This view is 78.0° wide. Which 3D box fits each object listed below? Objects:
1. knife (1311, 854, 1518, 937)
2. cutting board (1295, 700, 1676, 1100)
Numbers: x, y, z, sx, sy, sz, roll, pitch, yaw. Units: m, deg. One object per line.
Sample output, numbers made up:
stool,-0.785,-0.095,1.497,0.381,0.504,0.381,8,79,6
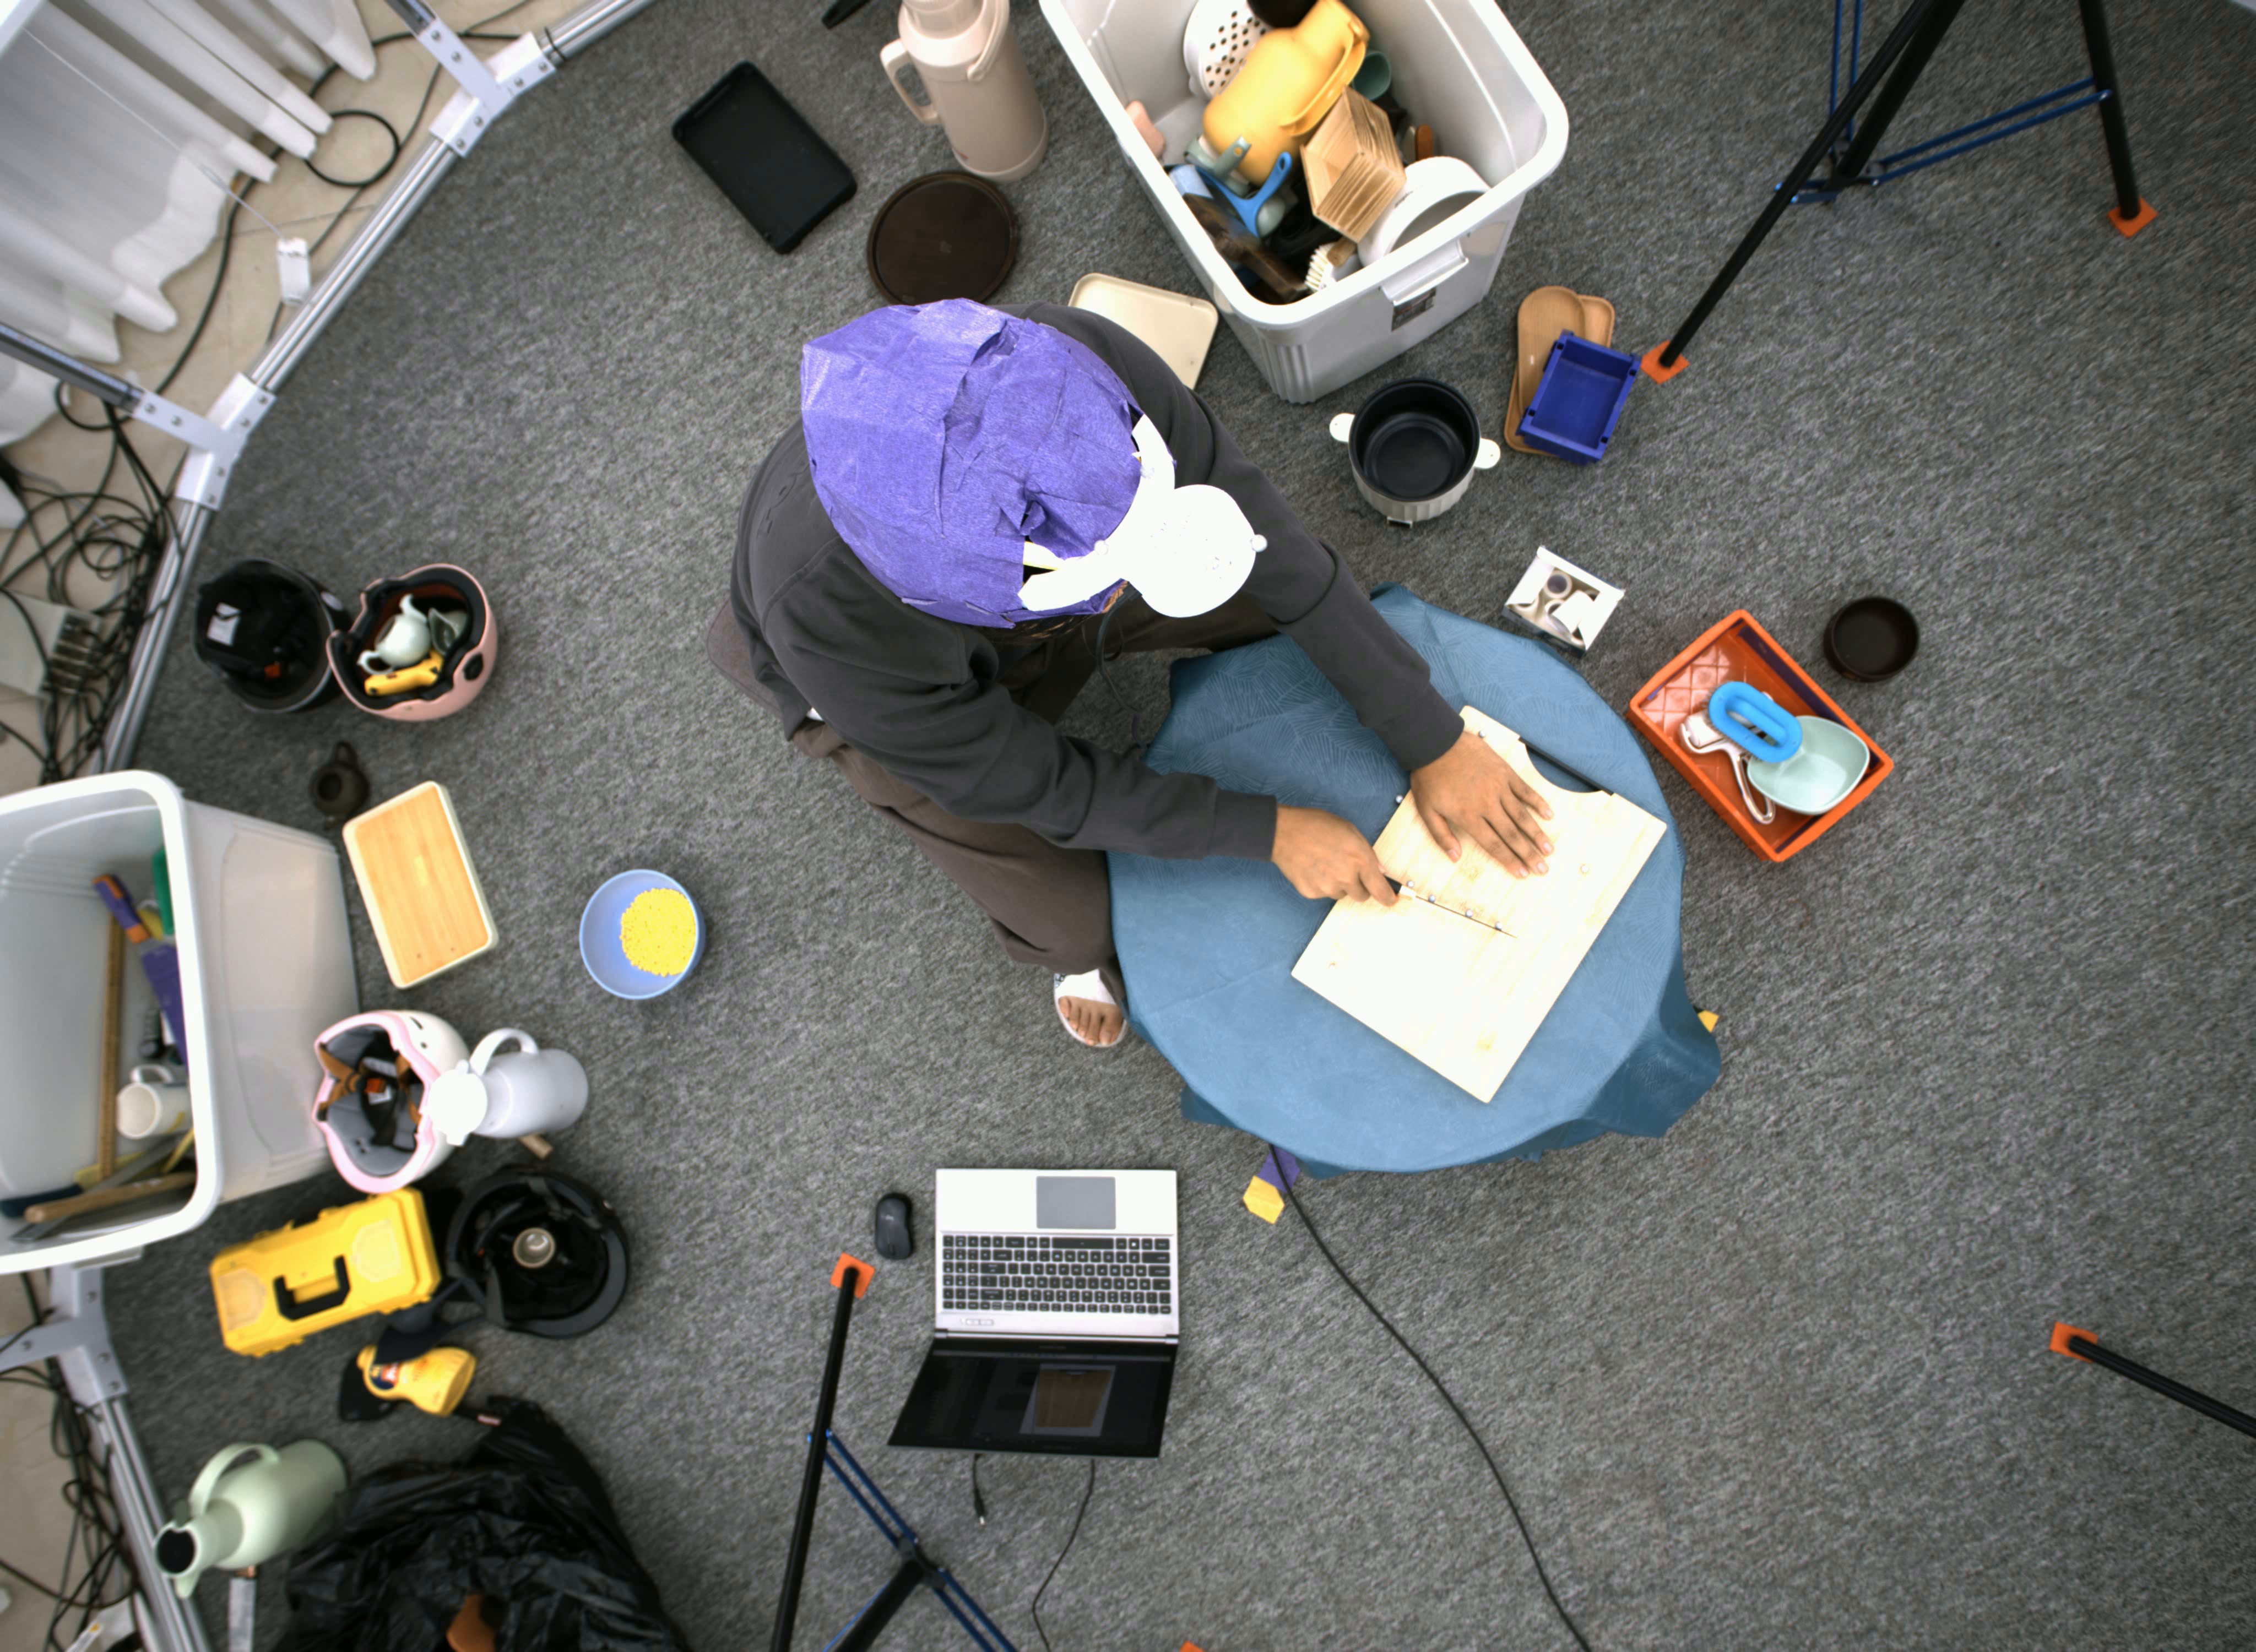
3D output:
knife,0.295,0.071,1.420,0.225,0.026,0.017,20,87,8
cutting board,0.367,0.072,1.434,0.250,0.023,0.349,32,93,11
